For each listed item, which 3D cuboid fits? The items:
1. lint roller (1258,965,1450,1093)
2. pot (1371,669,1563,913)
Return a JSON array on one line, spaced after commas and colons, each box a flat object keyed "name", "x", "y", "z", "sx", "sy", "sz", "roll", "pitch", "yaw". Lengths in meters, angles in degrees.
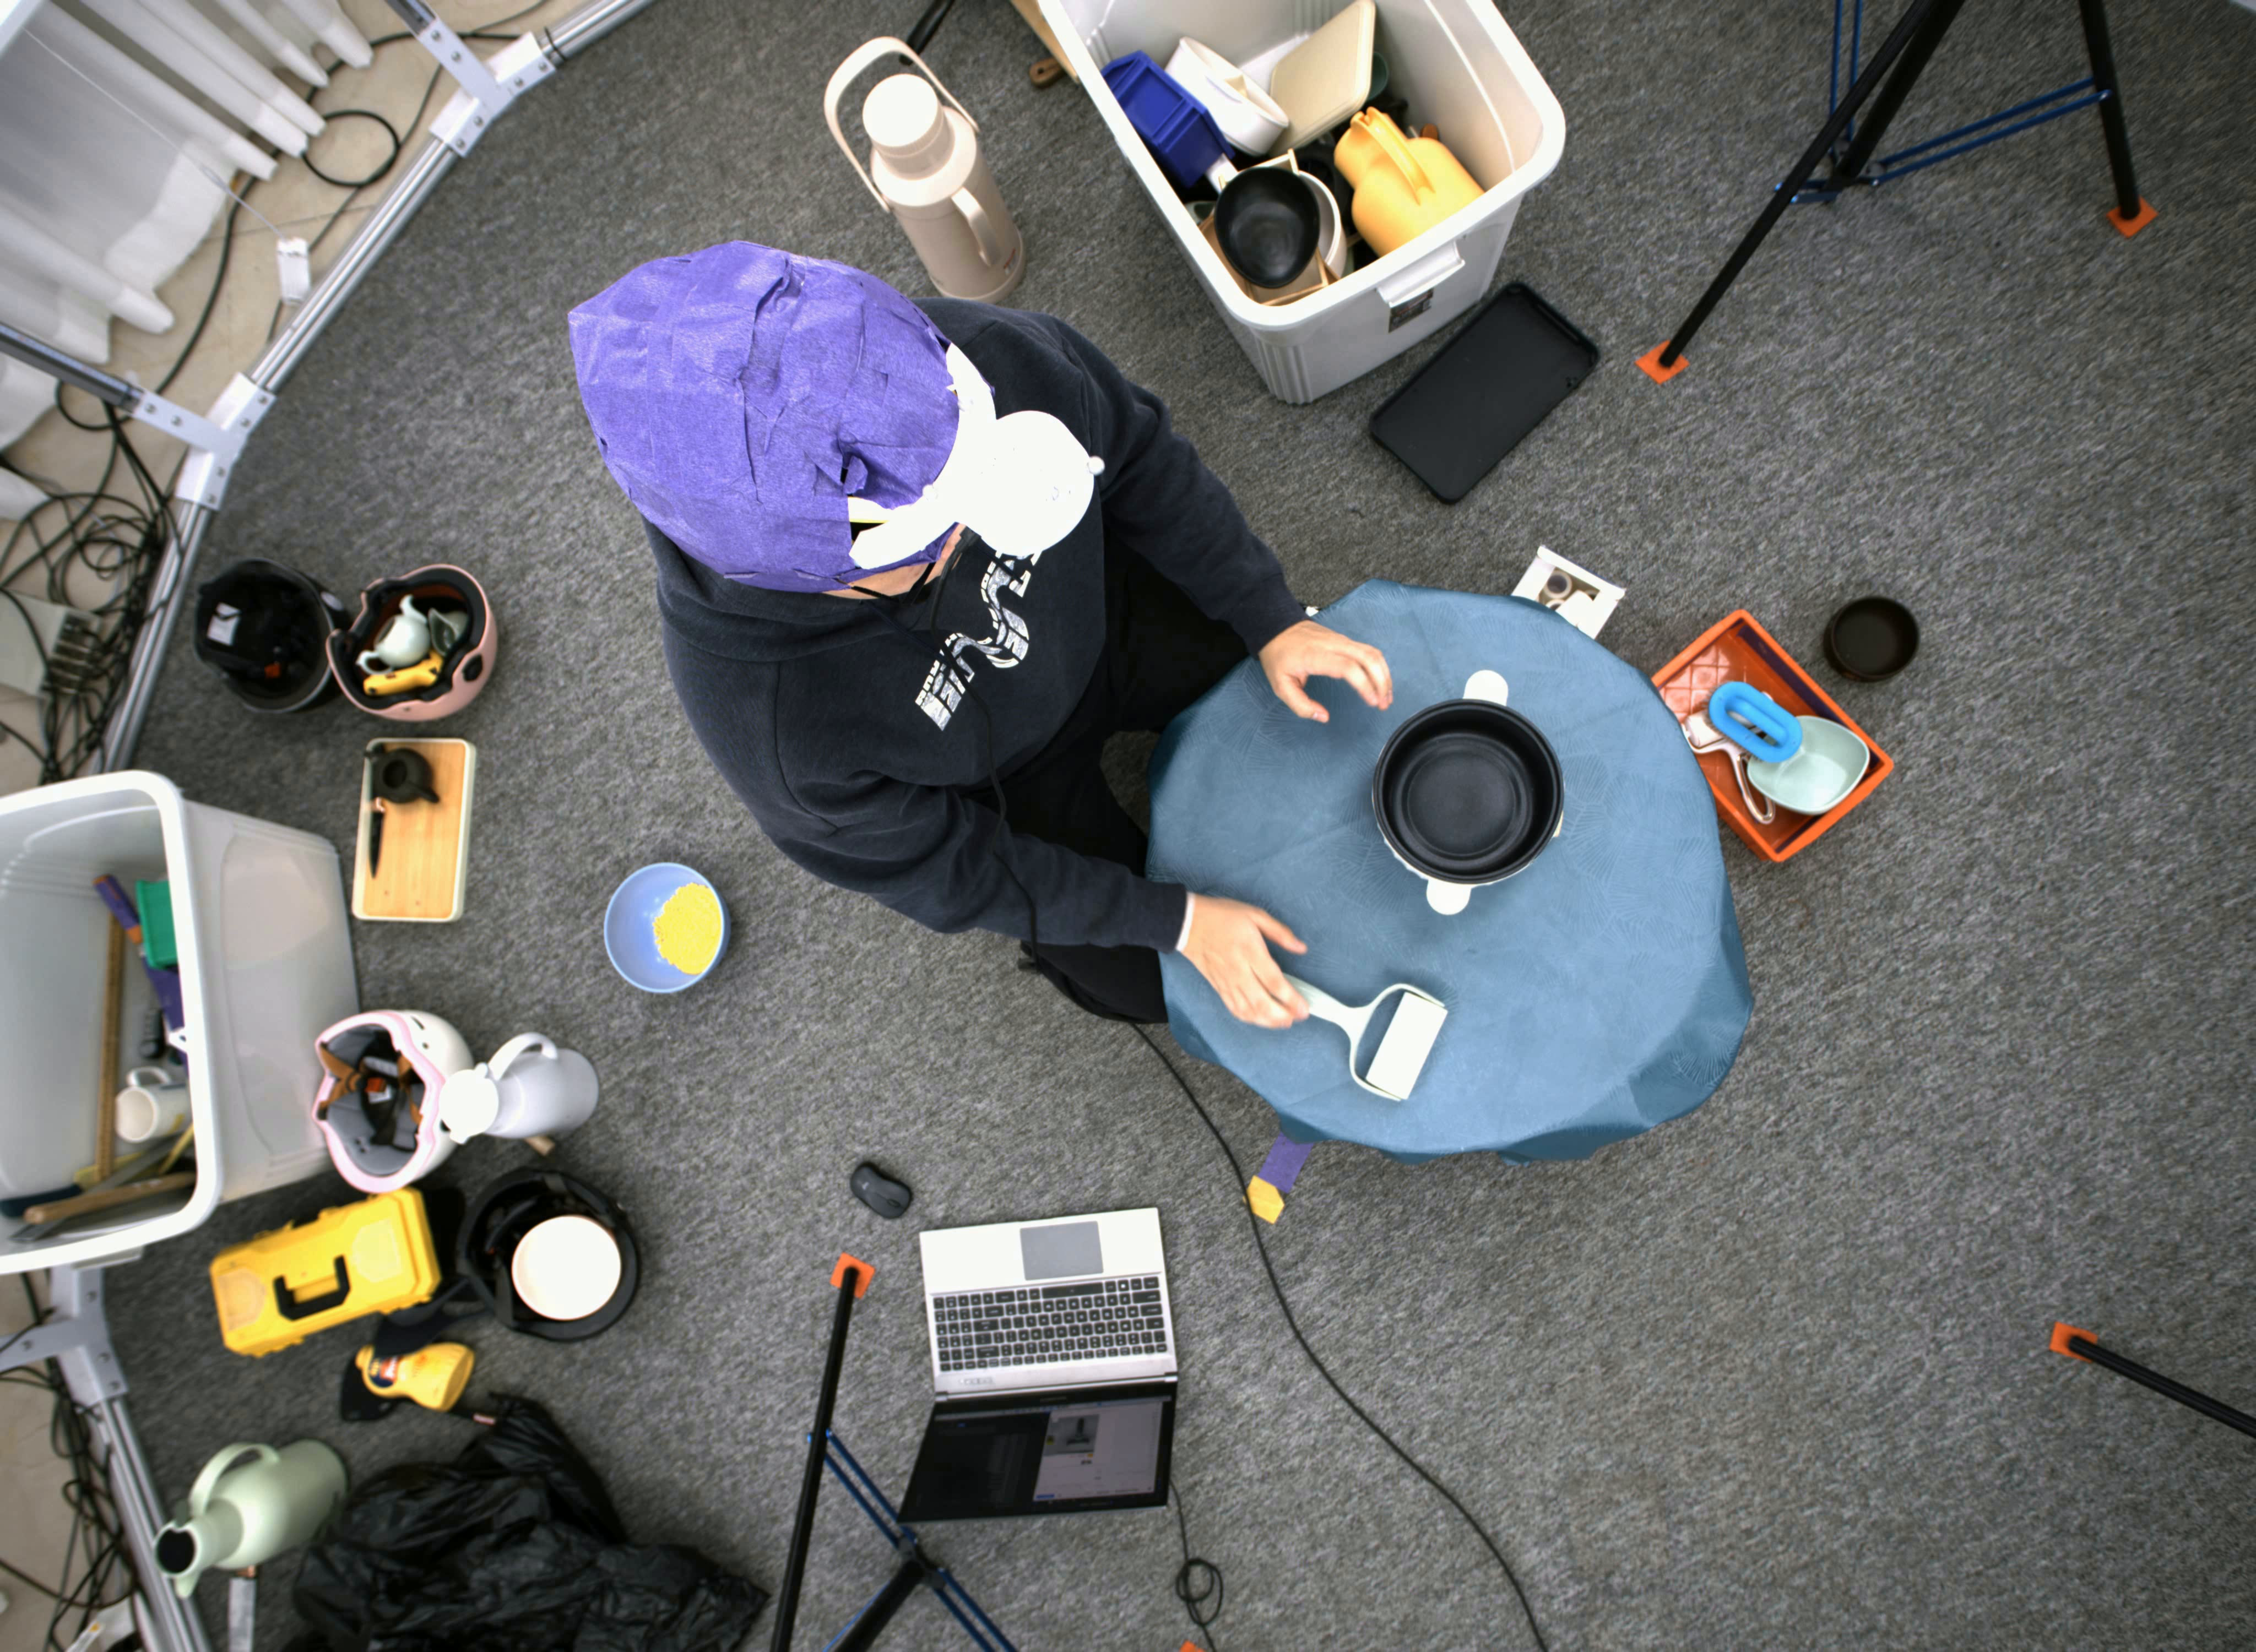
[{"name": "lint roller", "x": 0.226, "y": 0.187, "z": 1.441, "sx": 0.197, "sy": 0.048, "sz": 0.117, "roll": 24, "pitch": 94, "yaw": 13}, {"name": "pot", "x": 0.342, "y": -0.030, "z": 1.383, "sx": 0.191, "sy": 0.142, "sz": 0.240, "roll": 10, "pitch": 89, "yaw": 14}]
